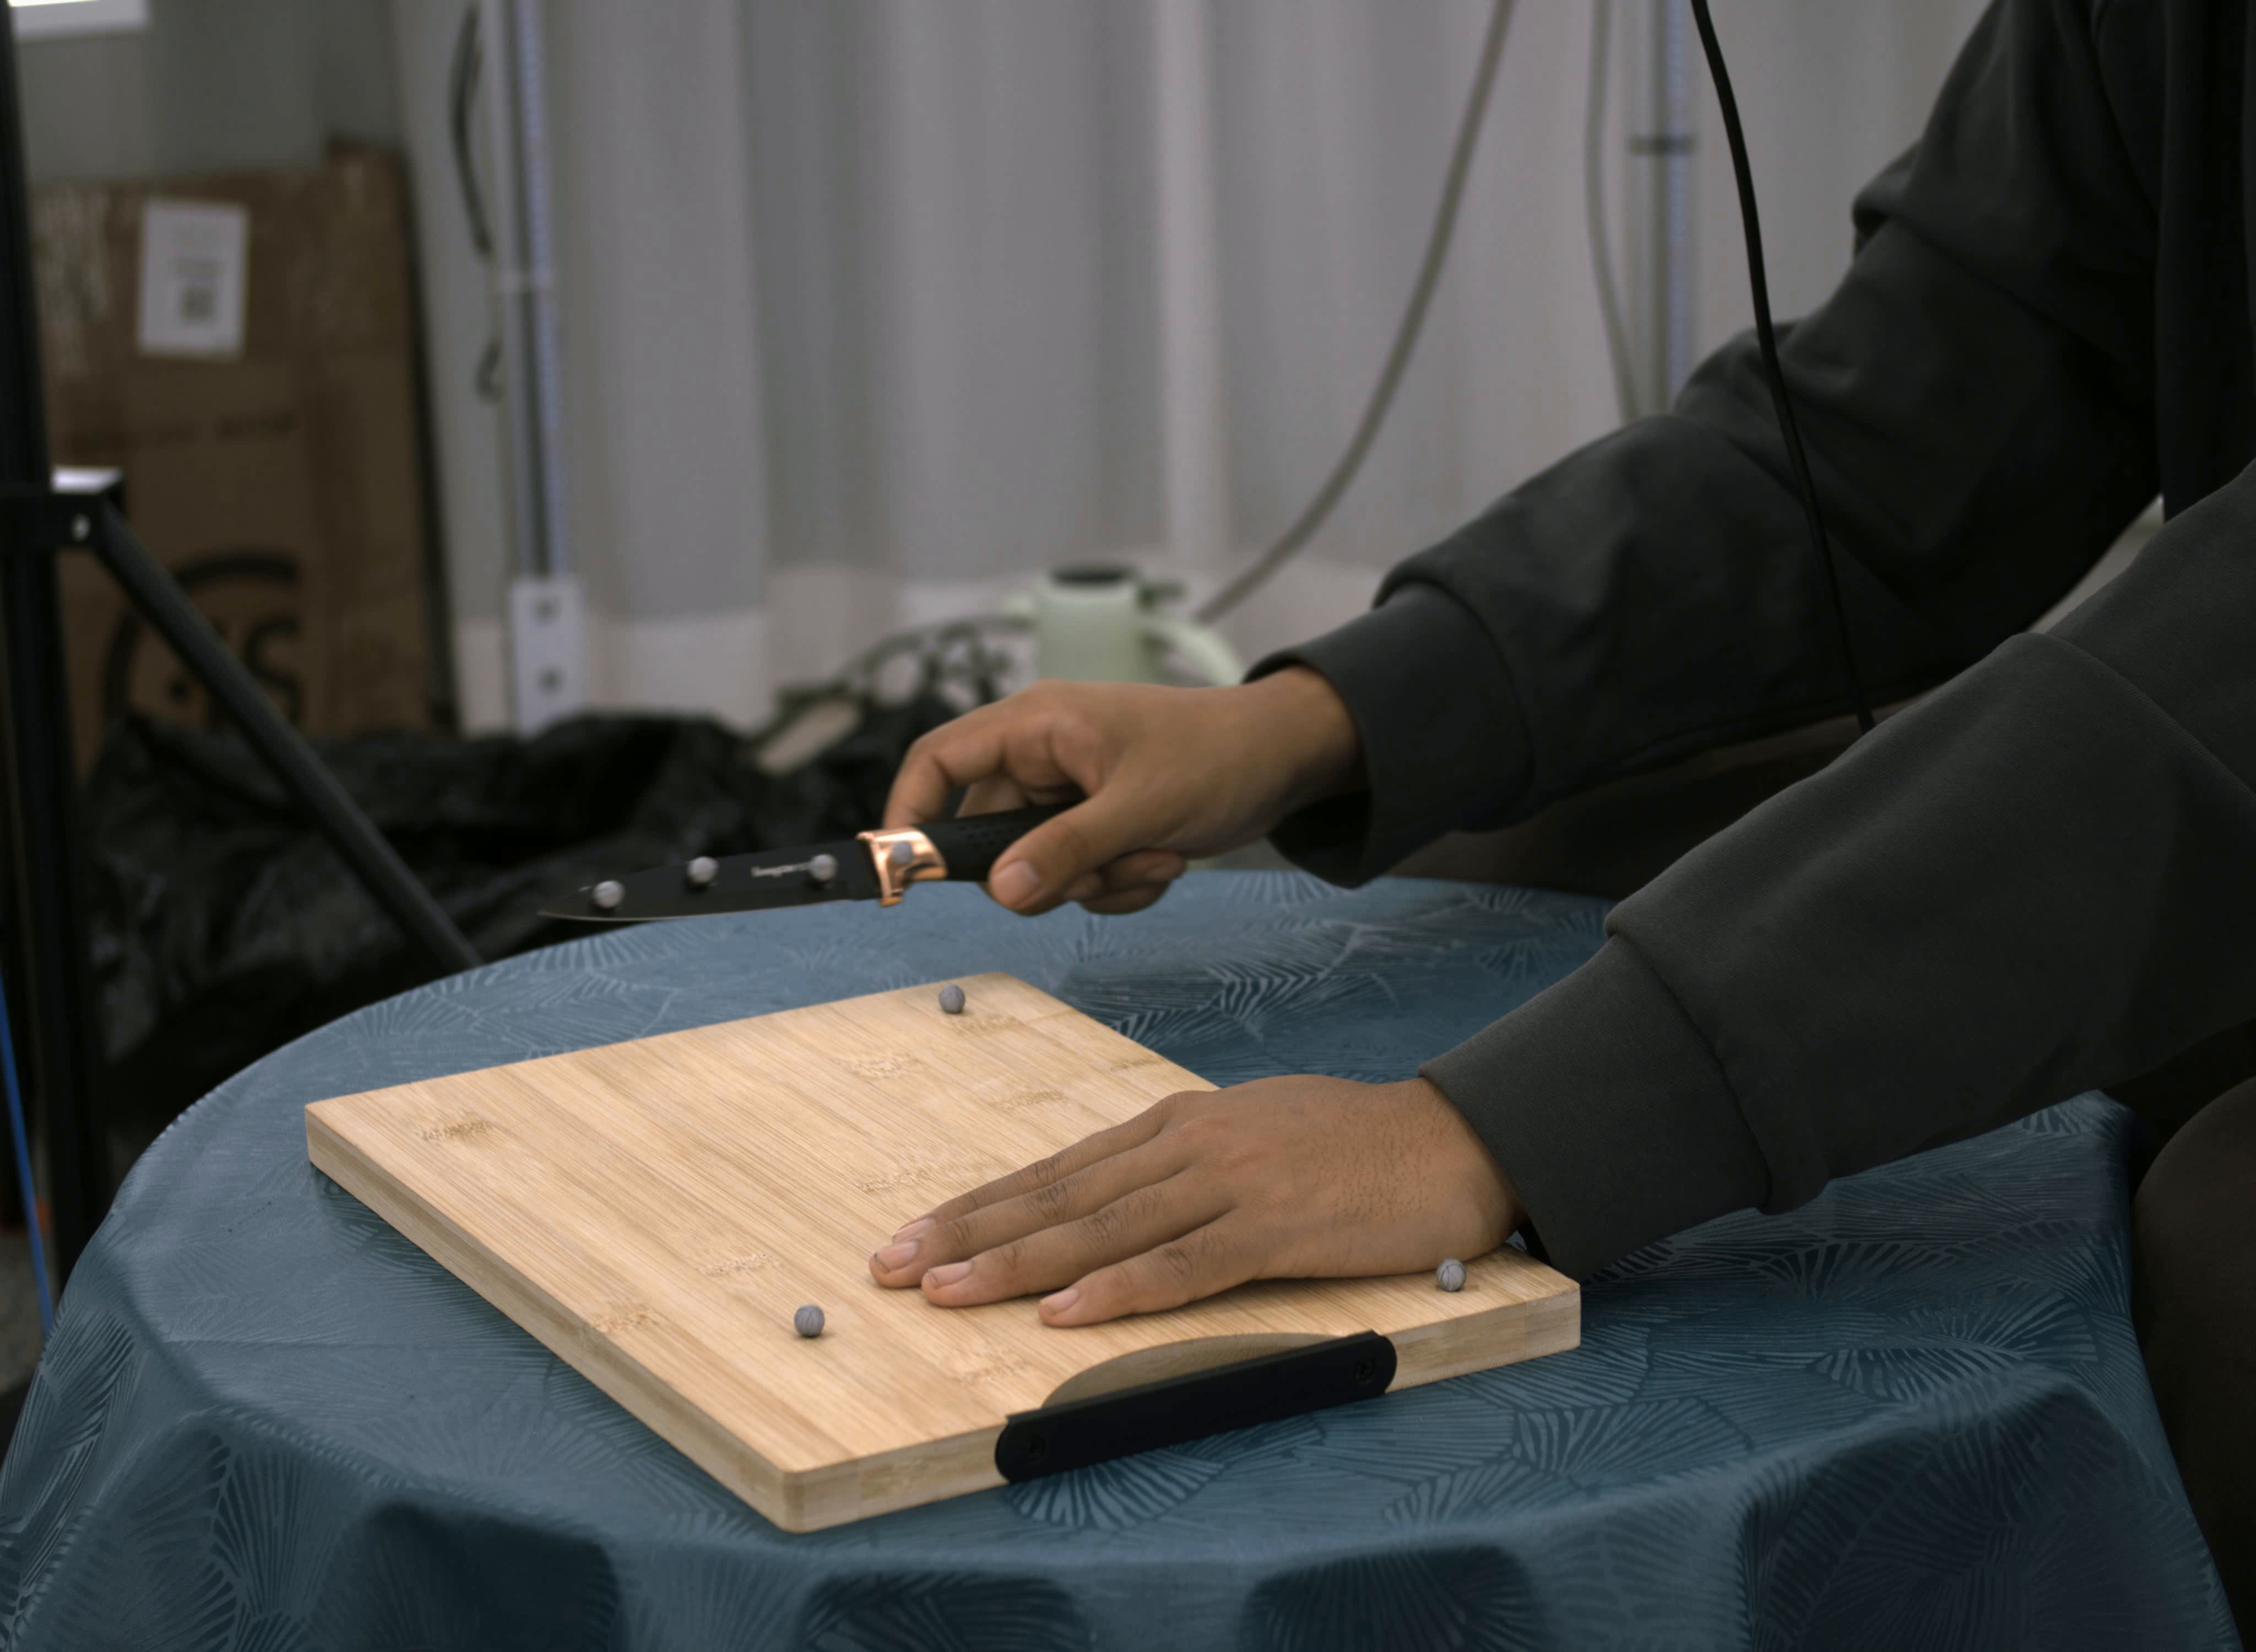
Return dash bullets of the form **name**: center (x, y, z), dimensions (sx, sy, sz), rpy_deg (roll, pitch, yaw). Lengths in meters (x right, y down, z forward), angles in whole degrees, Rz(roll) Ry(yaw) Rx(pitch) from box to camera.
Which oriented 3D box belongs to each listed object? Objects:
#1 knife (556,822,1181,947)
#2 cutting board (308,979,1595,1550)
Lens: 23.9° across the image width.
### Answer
- **knife**: center (-0.079, 0.018, 1.680), dimensions (0.220, 0.026, 0.017), rpy_deg (-7, -29, -27)
- **cutting board**: center (-0.061, 0.115, 1.513), dimensions (0.245, 0.023, 0.356), rpy_deg (-11, 18, -27)
